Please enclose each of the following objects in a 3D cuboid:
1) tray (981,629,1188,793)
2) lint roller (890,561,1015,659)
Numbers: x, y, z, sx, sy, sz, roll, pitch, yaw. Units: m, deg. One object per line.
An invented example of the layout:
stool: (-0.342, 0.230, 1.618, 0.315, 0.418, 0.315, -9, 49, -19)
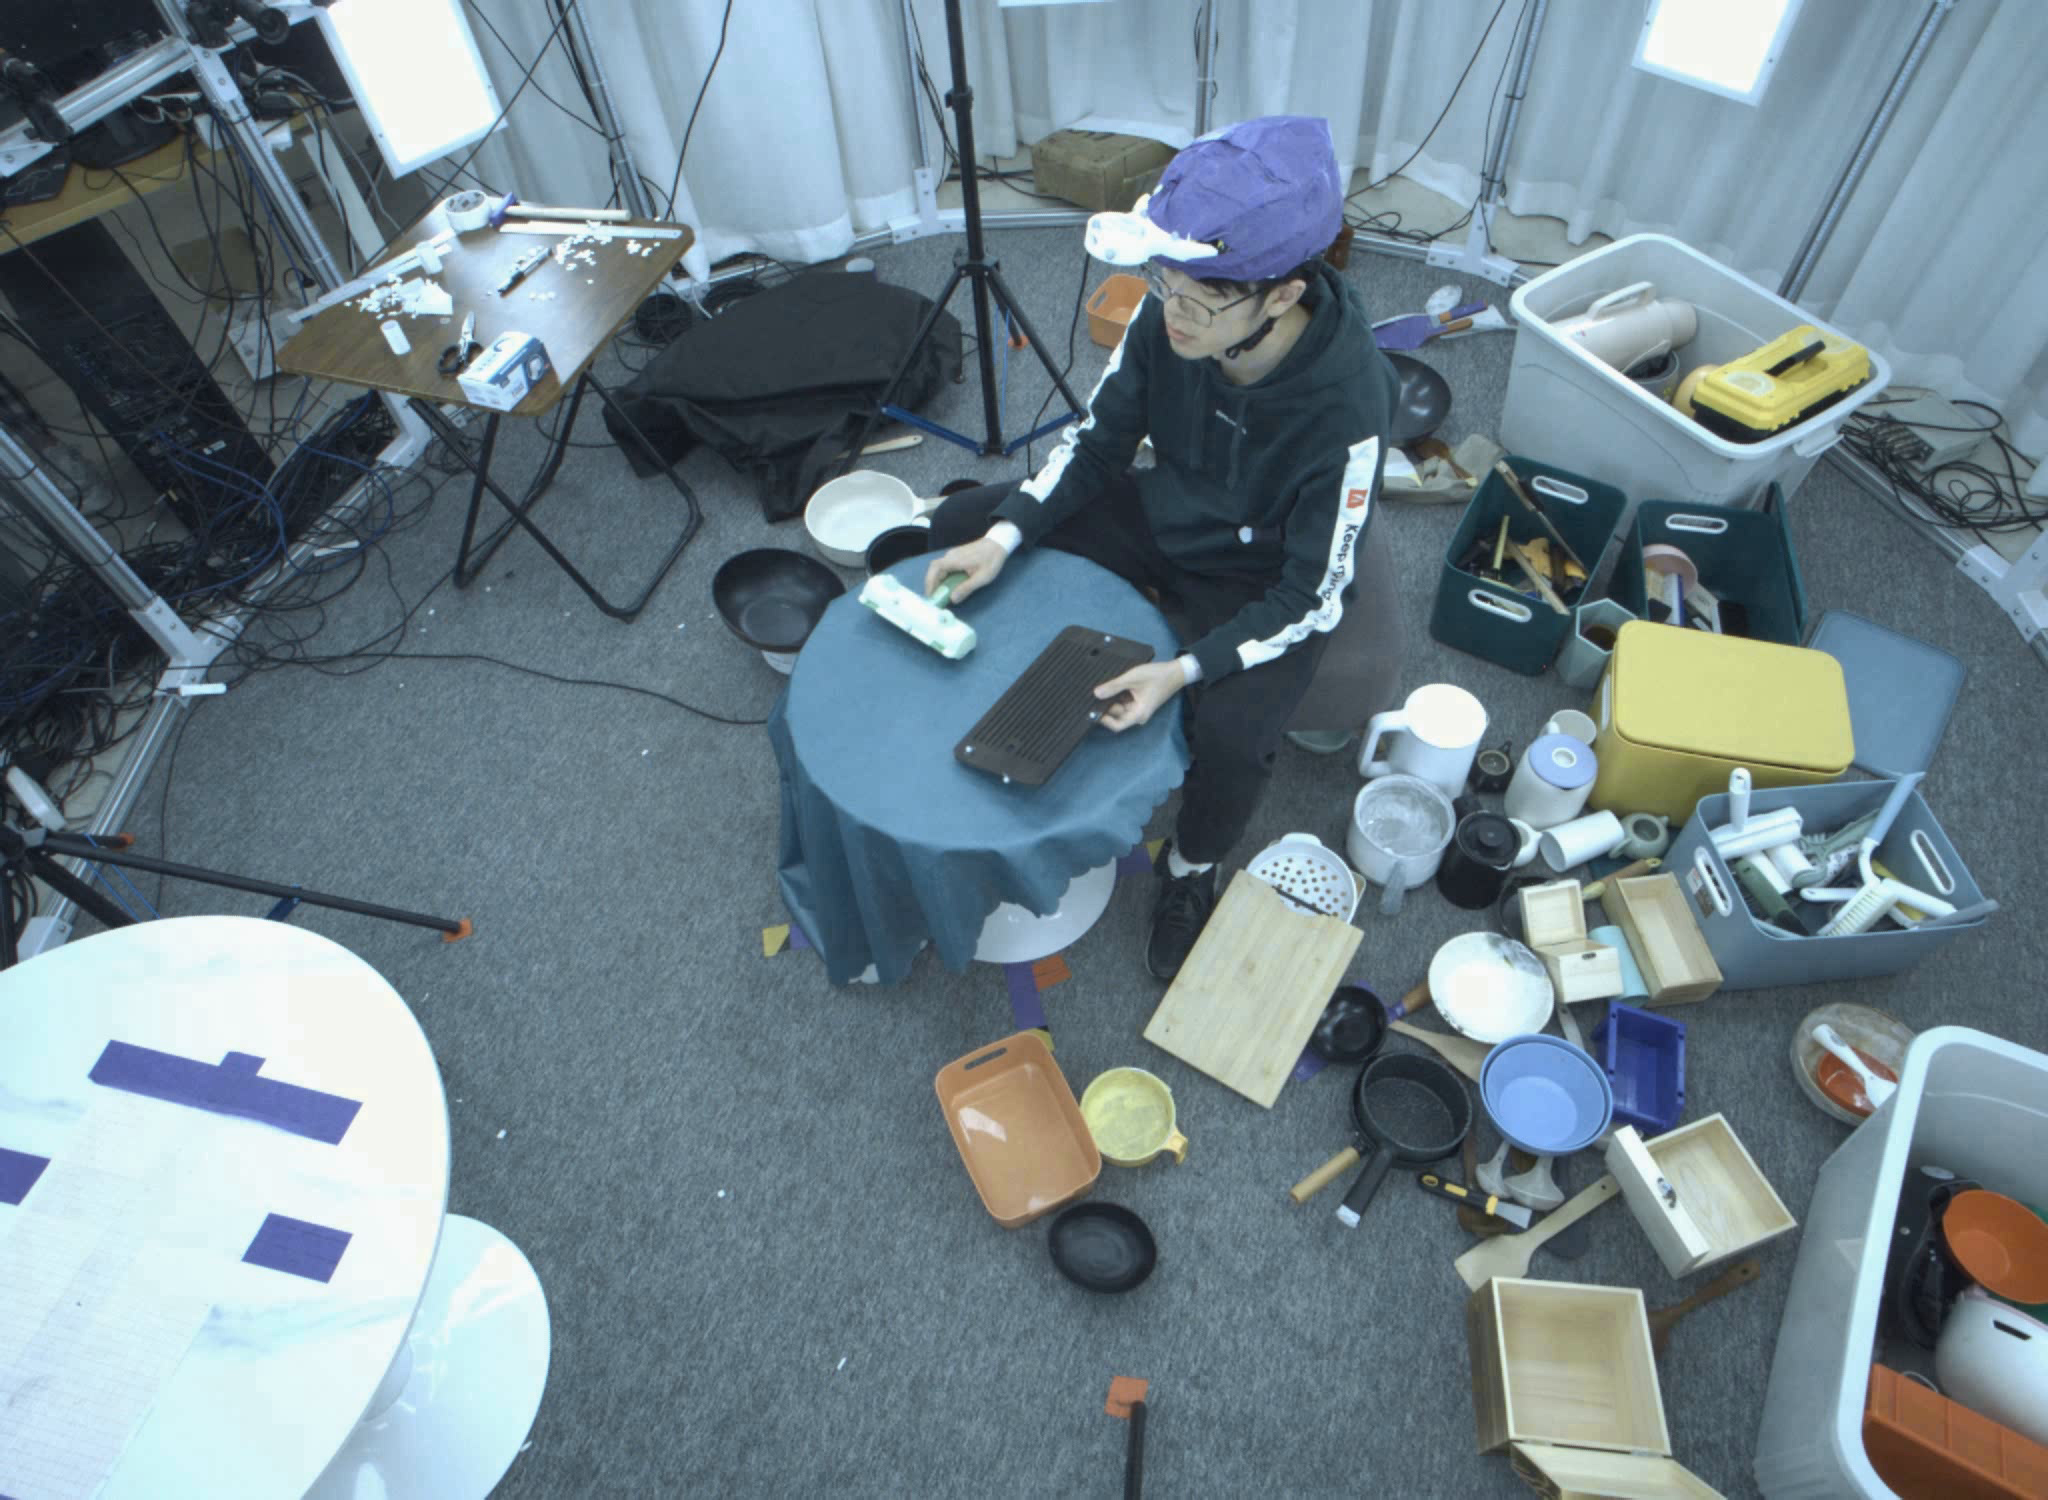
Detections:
tray: (0.090, -0.061, 1.783, 0.166, 0.019, 0.307, 22, 55, 35)
lint roller: (-0.081, -0.249, 1.904, 0.195, 0.083, 0.184, 35, 70, 20)
